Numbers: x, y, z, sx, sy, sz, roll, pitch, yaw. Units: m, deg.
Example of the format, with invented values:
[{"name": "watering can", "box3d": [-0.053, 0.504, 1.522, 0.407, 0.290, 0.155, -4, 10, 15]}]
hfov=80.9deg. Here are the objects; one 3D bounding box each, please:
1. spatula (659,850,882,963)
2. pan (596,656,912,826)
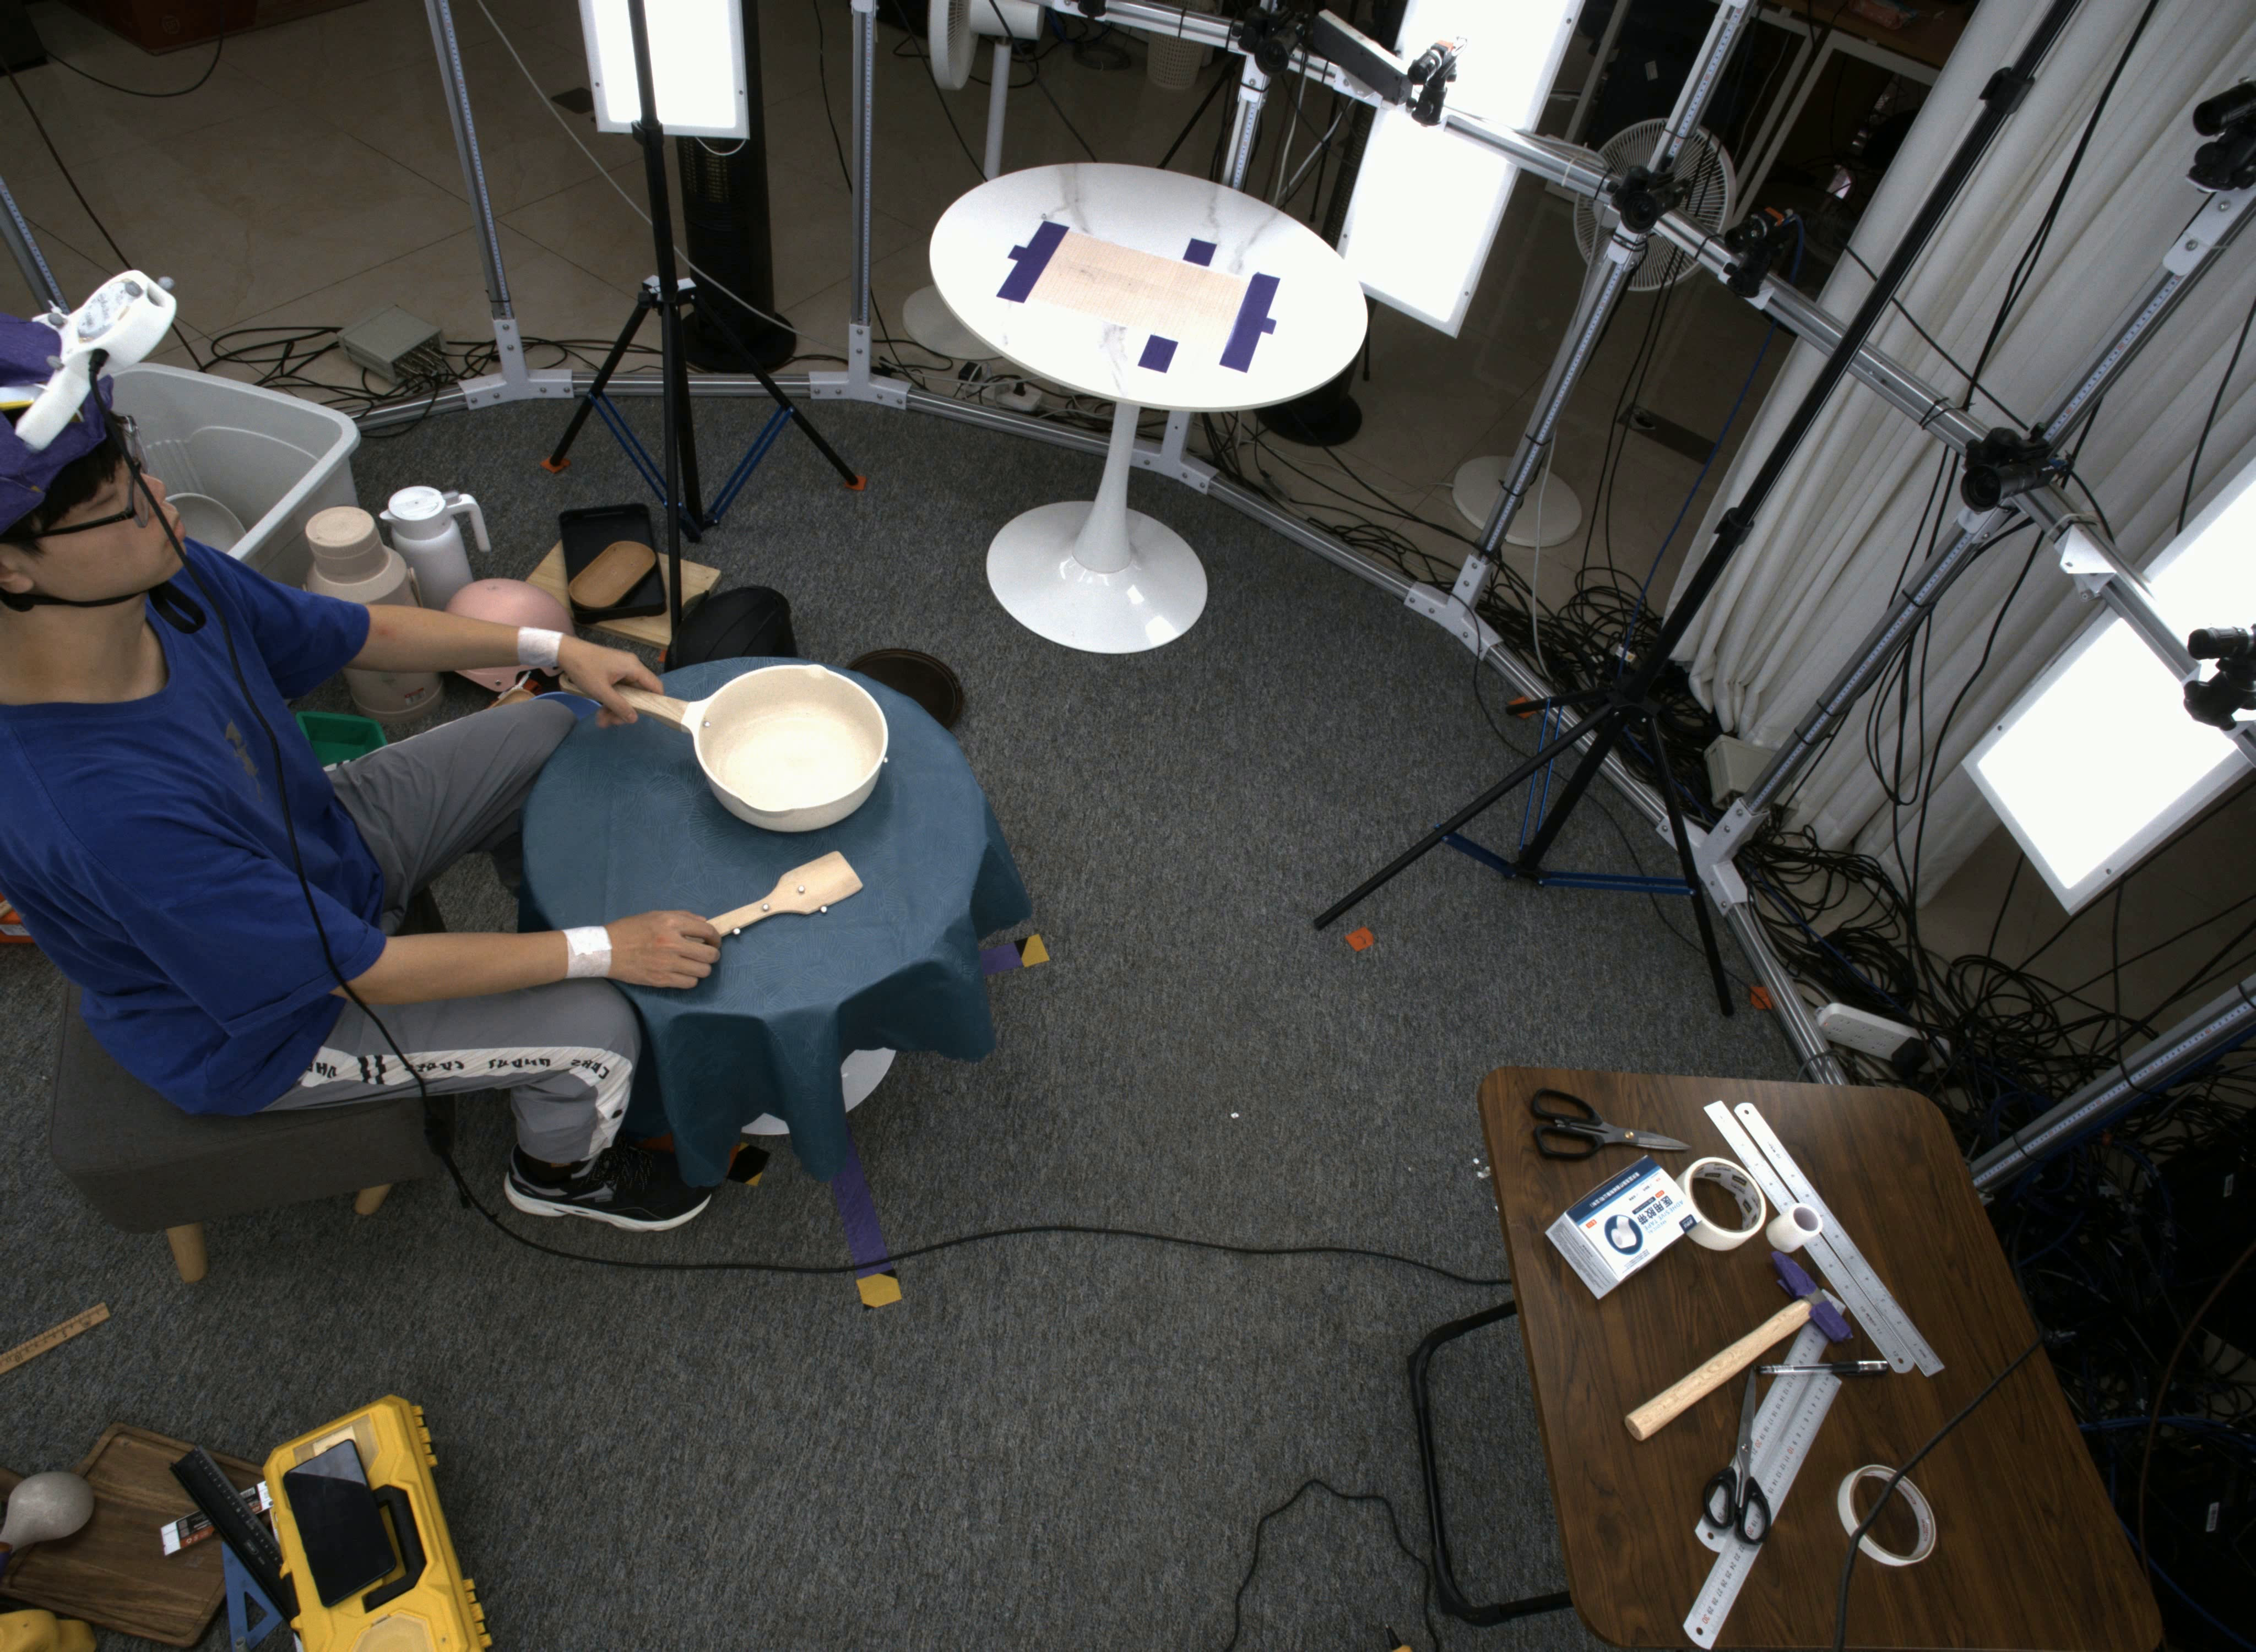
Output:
[{"name": "spatula", "box3d": [-0.452, 0.106, 1.637, 0.295, 0.011, 0.070, -24, 63, -32]}, {"name": "pan", "box3d": [-0.508, -0.130, 1.745, 0.433, 0.104, 0.259, 11, 54, -5]}]
